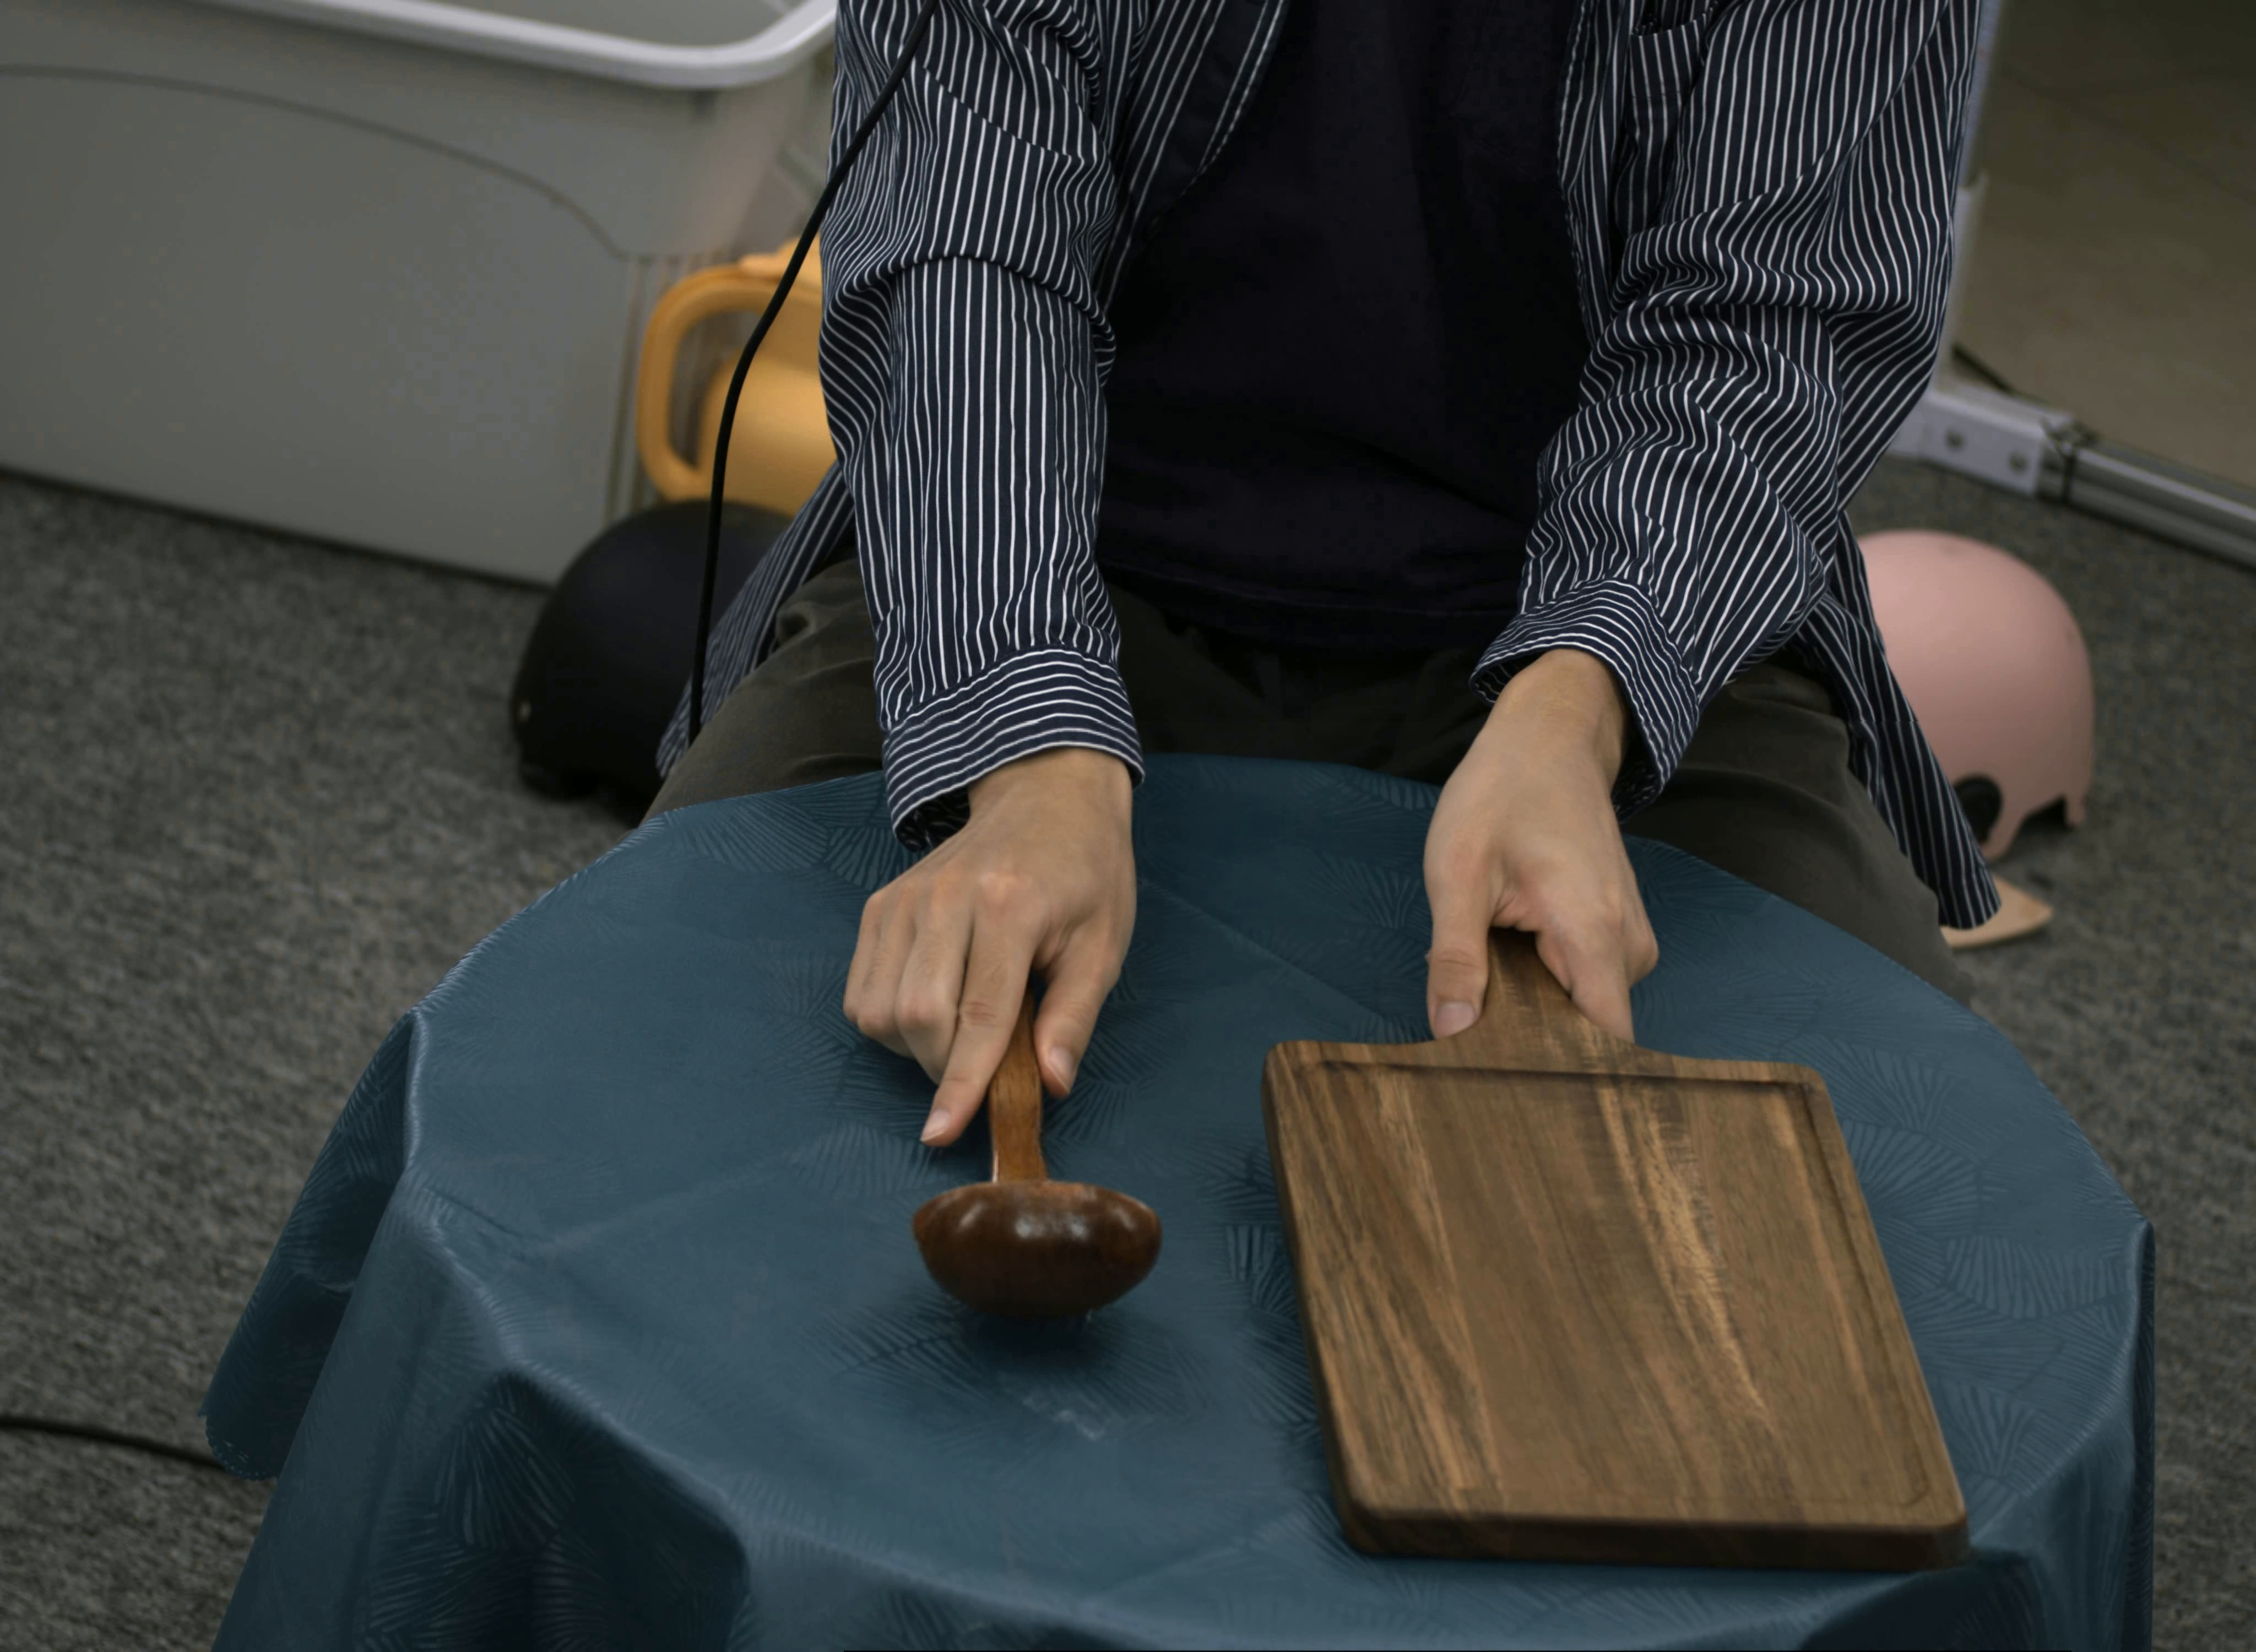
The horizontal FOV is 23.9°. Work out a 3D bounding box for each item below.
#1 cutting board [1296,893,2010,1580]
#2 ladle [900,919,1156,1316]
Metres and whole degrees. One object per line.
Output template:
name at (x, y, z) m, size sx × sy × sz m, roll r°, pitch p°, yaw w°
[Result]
cutting board at (0.161, 0.127, 1.770) m, size 0.200 × 0.023 × 0.355 m, roll 3°, pitch 32°, yaw -7°
ladle at (-0.035, 0.078, 1.786) m, size 0.081 × 0.076 × 0.276 m, roll 10°, pitch 29°, yaw -7°
